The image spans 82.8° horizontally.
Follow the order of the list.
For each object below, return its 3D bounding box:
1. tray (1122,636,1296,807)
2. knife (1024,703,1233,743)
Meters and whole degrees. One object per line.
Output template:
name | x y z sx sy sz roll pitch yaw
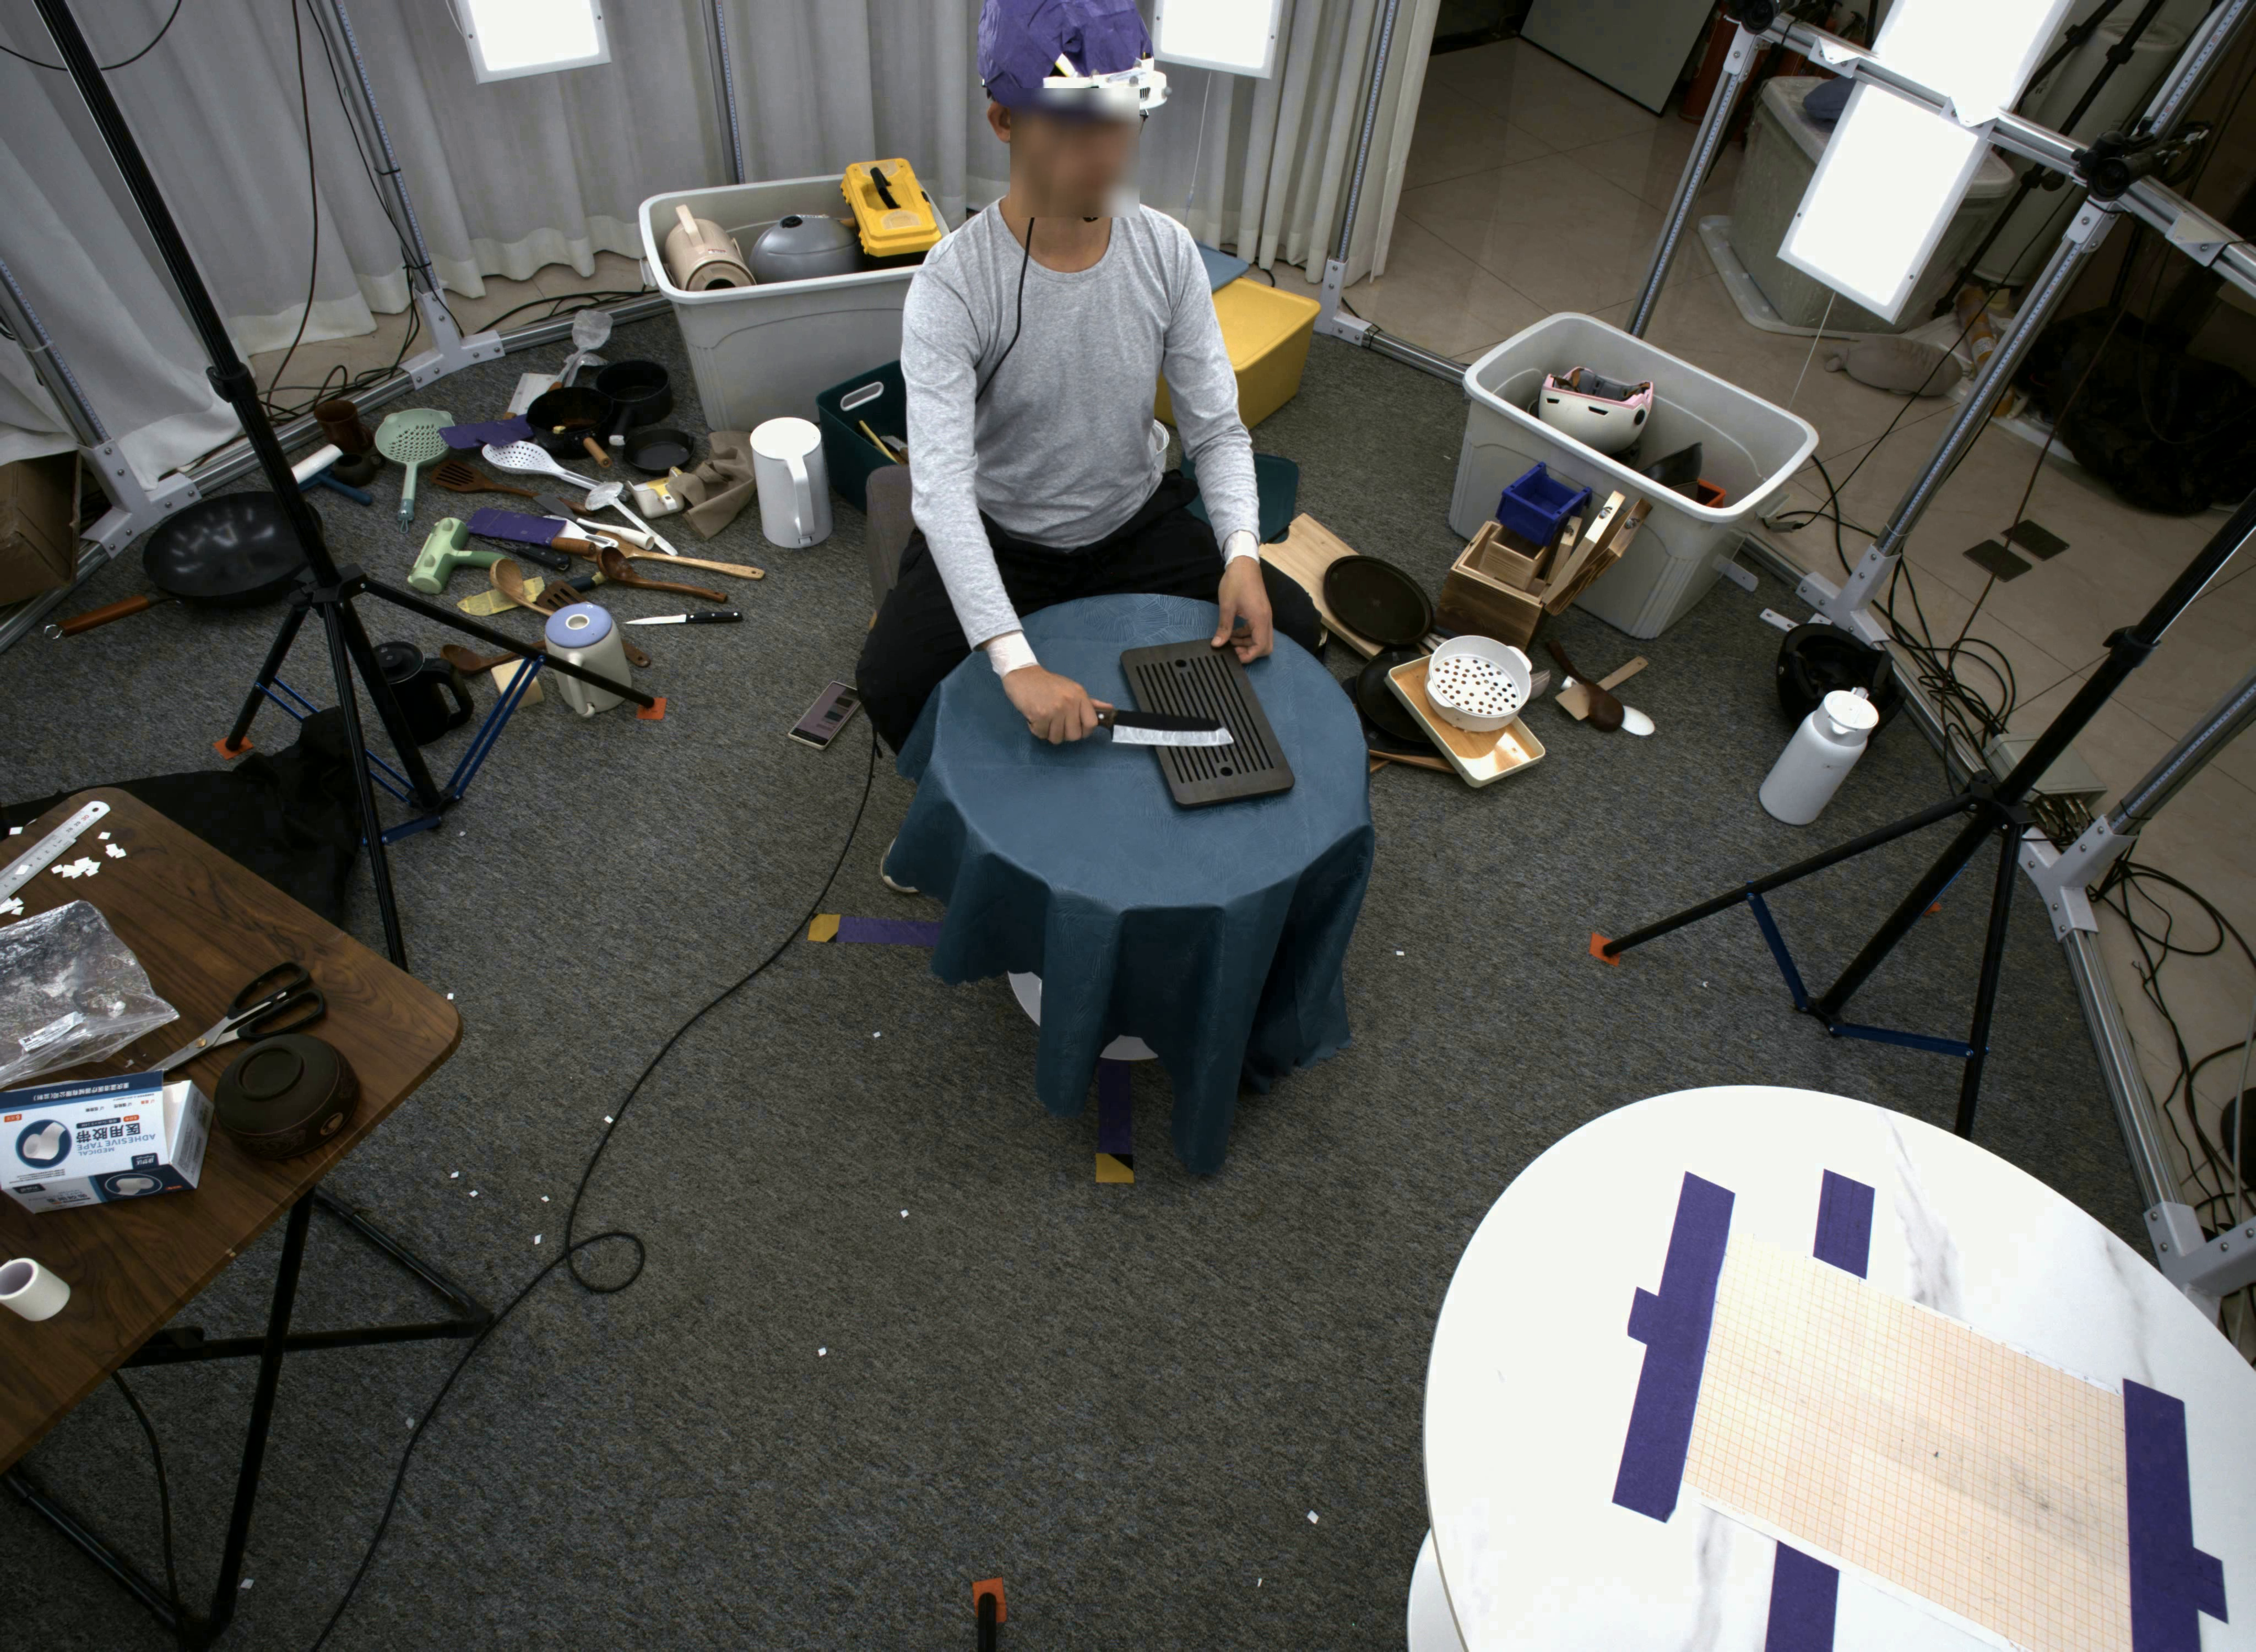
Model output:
tray | 0.108 -0.151 1.794 0.170 0.018 0.313 -9 50 -11
knife | 0.002 -0.140 1.745 0.288 0.020 0.050 6 88 -4
